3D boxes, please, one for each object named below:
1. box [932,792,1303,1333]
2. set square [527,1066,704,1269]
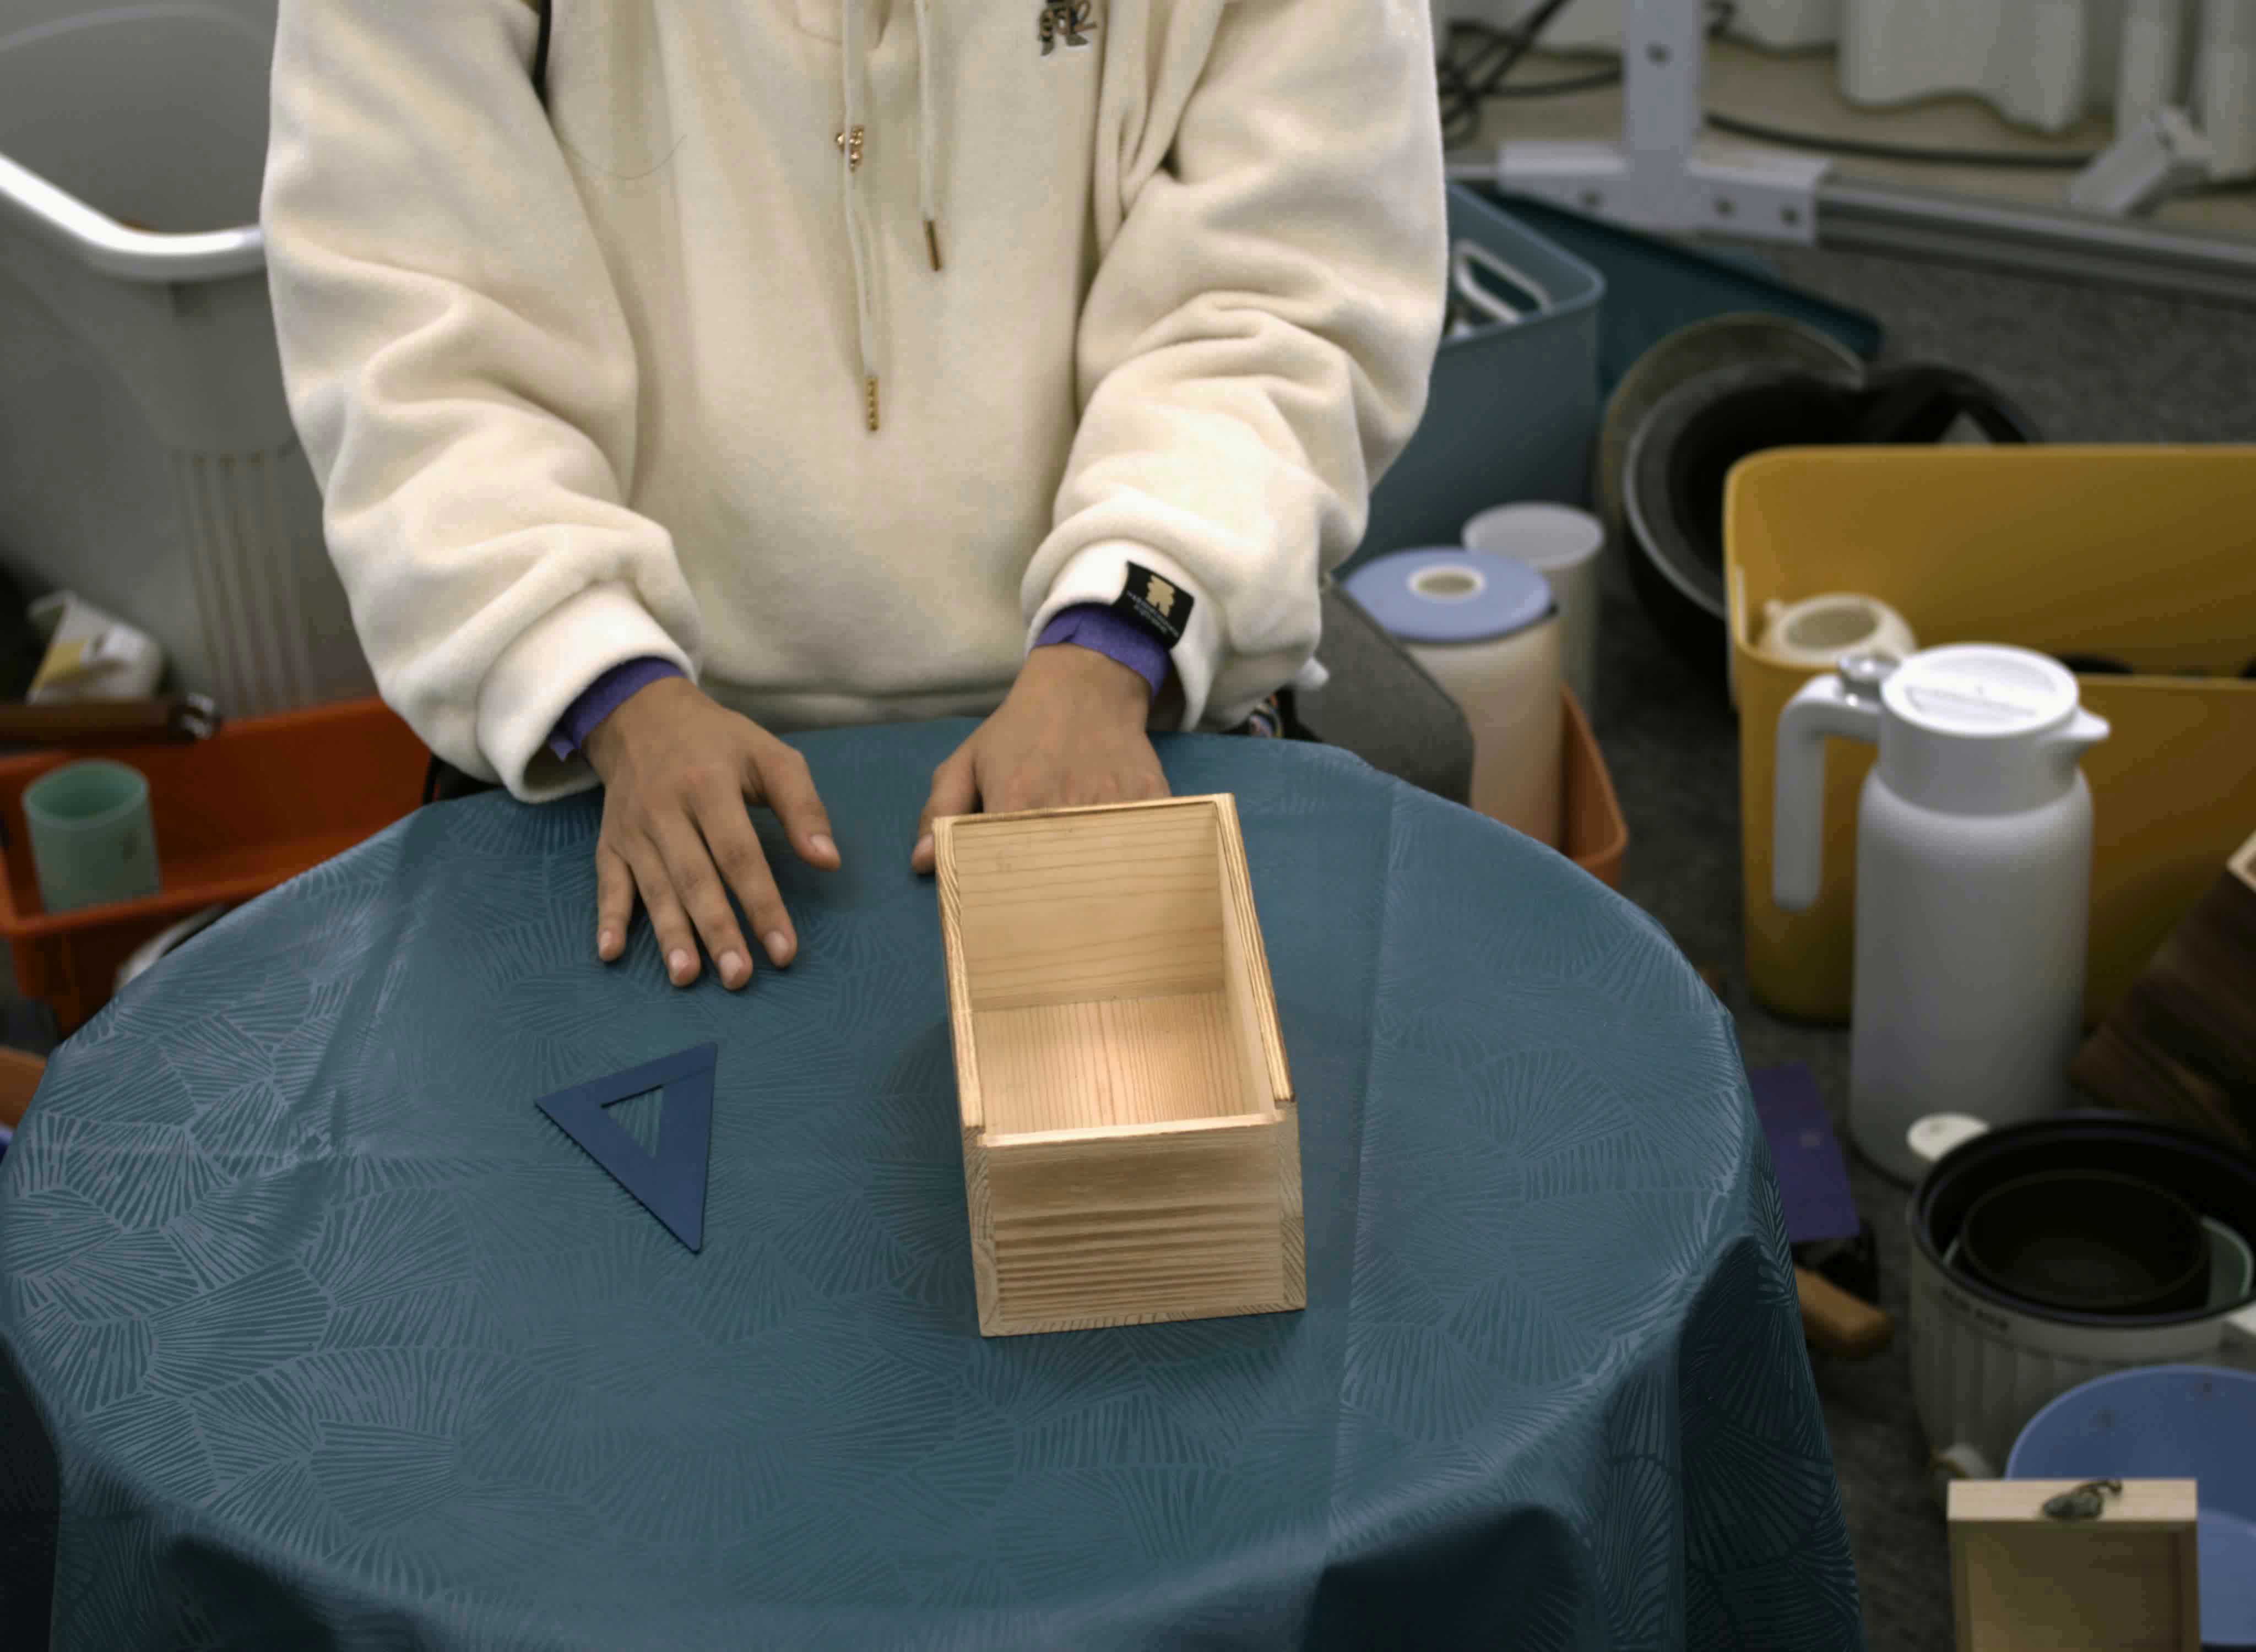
[{"bbox_3d":[-0.006,0.075,1.866,0.107,0.079,0.214,-4,28,-4],"label":"box"},{"bbox_3d":[-0.178,0.114,1.890,0.061,0.006,0.134,0,27,3],"label":"set square"}]
